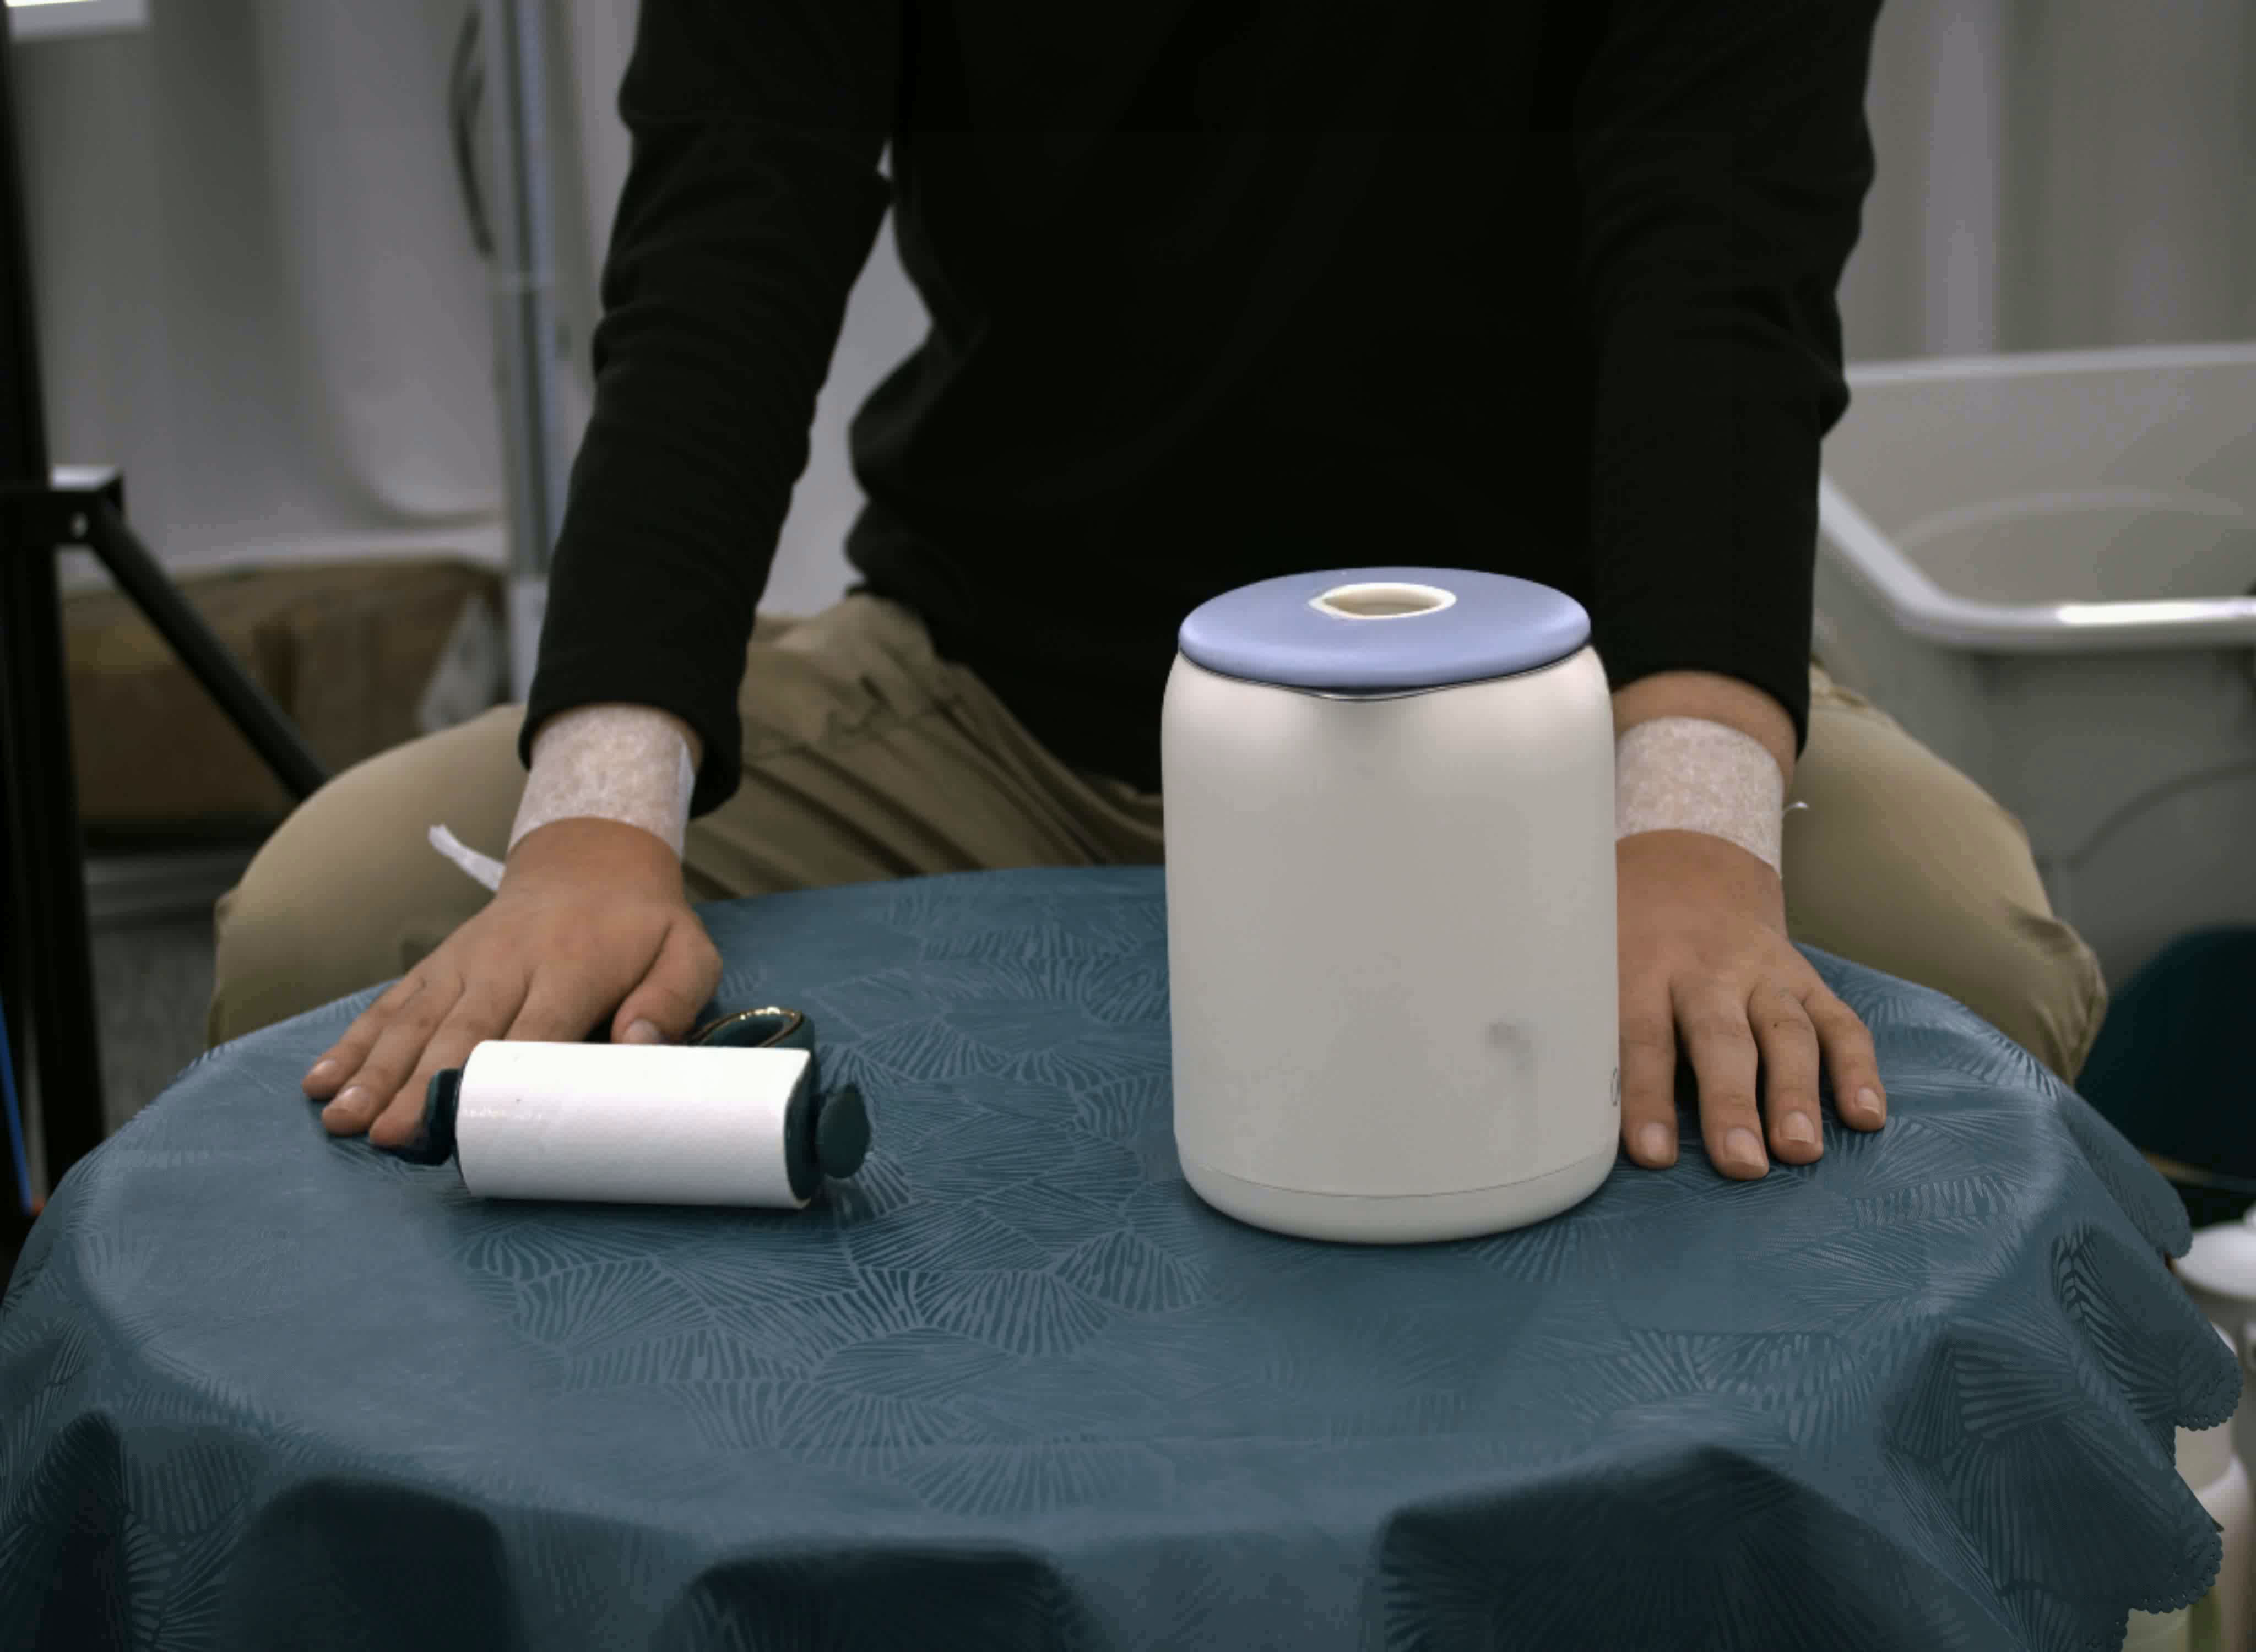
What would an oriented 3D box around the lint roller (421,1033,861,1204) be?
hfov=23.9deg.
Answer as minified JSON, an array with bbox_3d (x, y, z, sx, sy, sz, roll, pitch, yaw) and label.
[{"bbox_3d":[-0.130,0.072,1.631,0.135,0.048,0.179,1,13,12],"label":"lint roller"}]

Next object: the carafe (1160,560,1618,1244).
[{"bbox_3d":[0.079,0.015,1.559,0.132,0.182,0.190,0,13,7],"label":"carafe"}]
